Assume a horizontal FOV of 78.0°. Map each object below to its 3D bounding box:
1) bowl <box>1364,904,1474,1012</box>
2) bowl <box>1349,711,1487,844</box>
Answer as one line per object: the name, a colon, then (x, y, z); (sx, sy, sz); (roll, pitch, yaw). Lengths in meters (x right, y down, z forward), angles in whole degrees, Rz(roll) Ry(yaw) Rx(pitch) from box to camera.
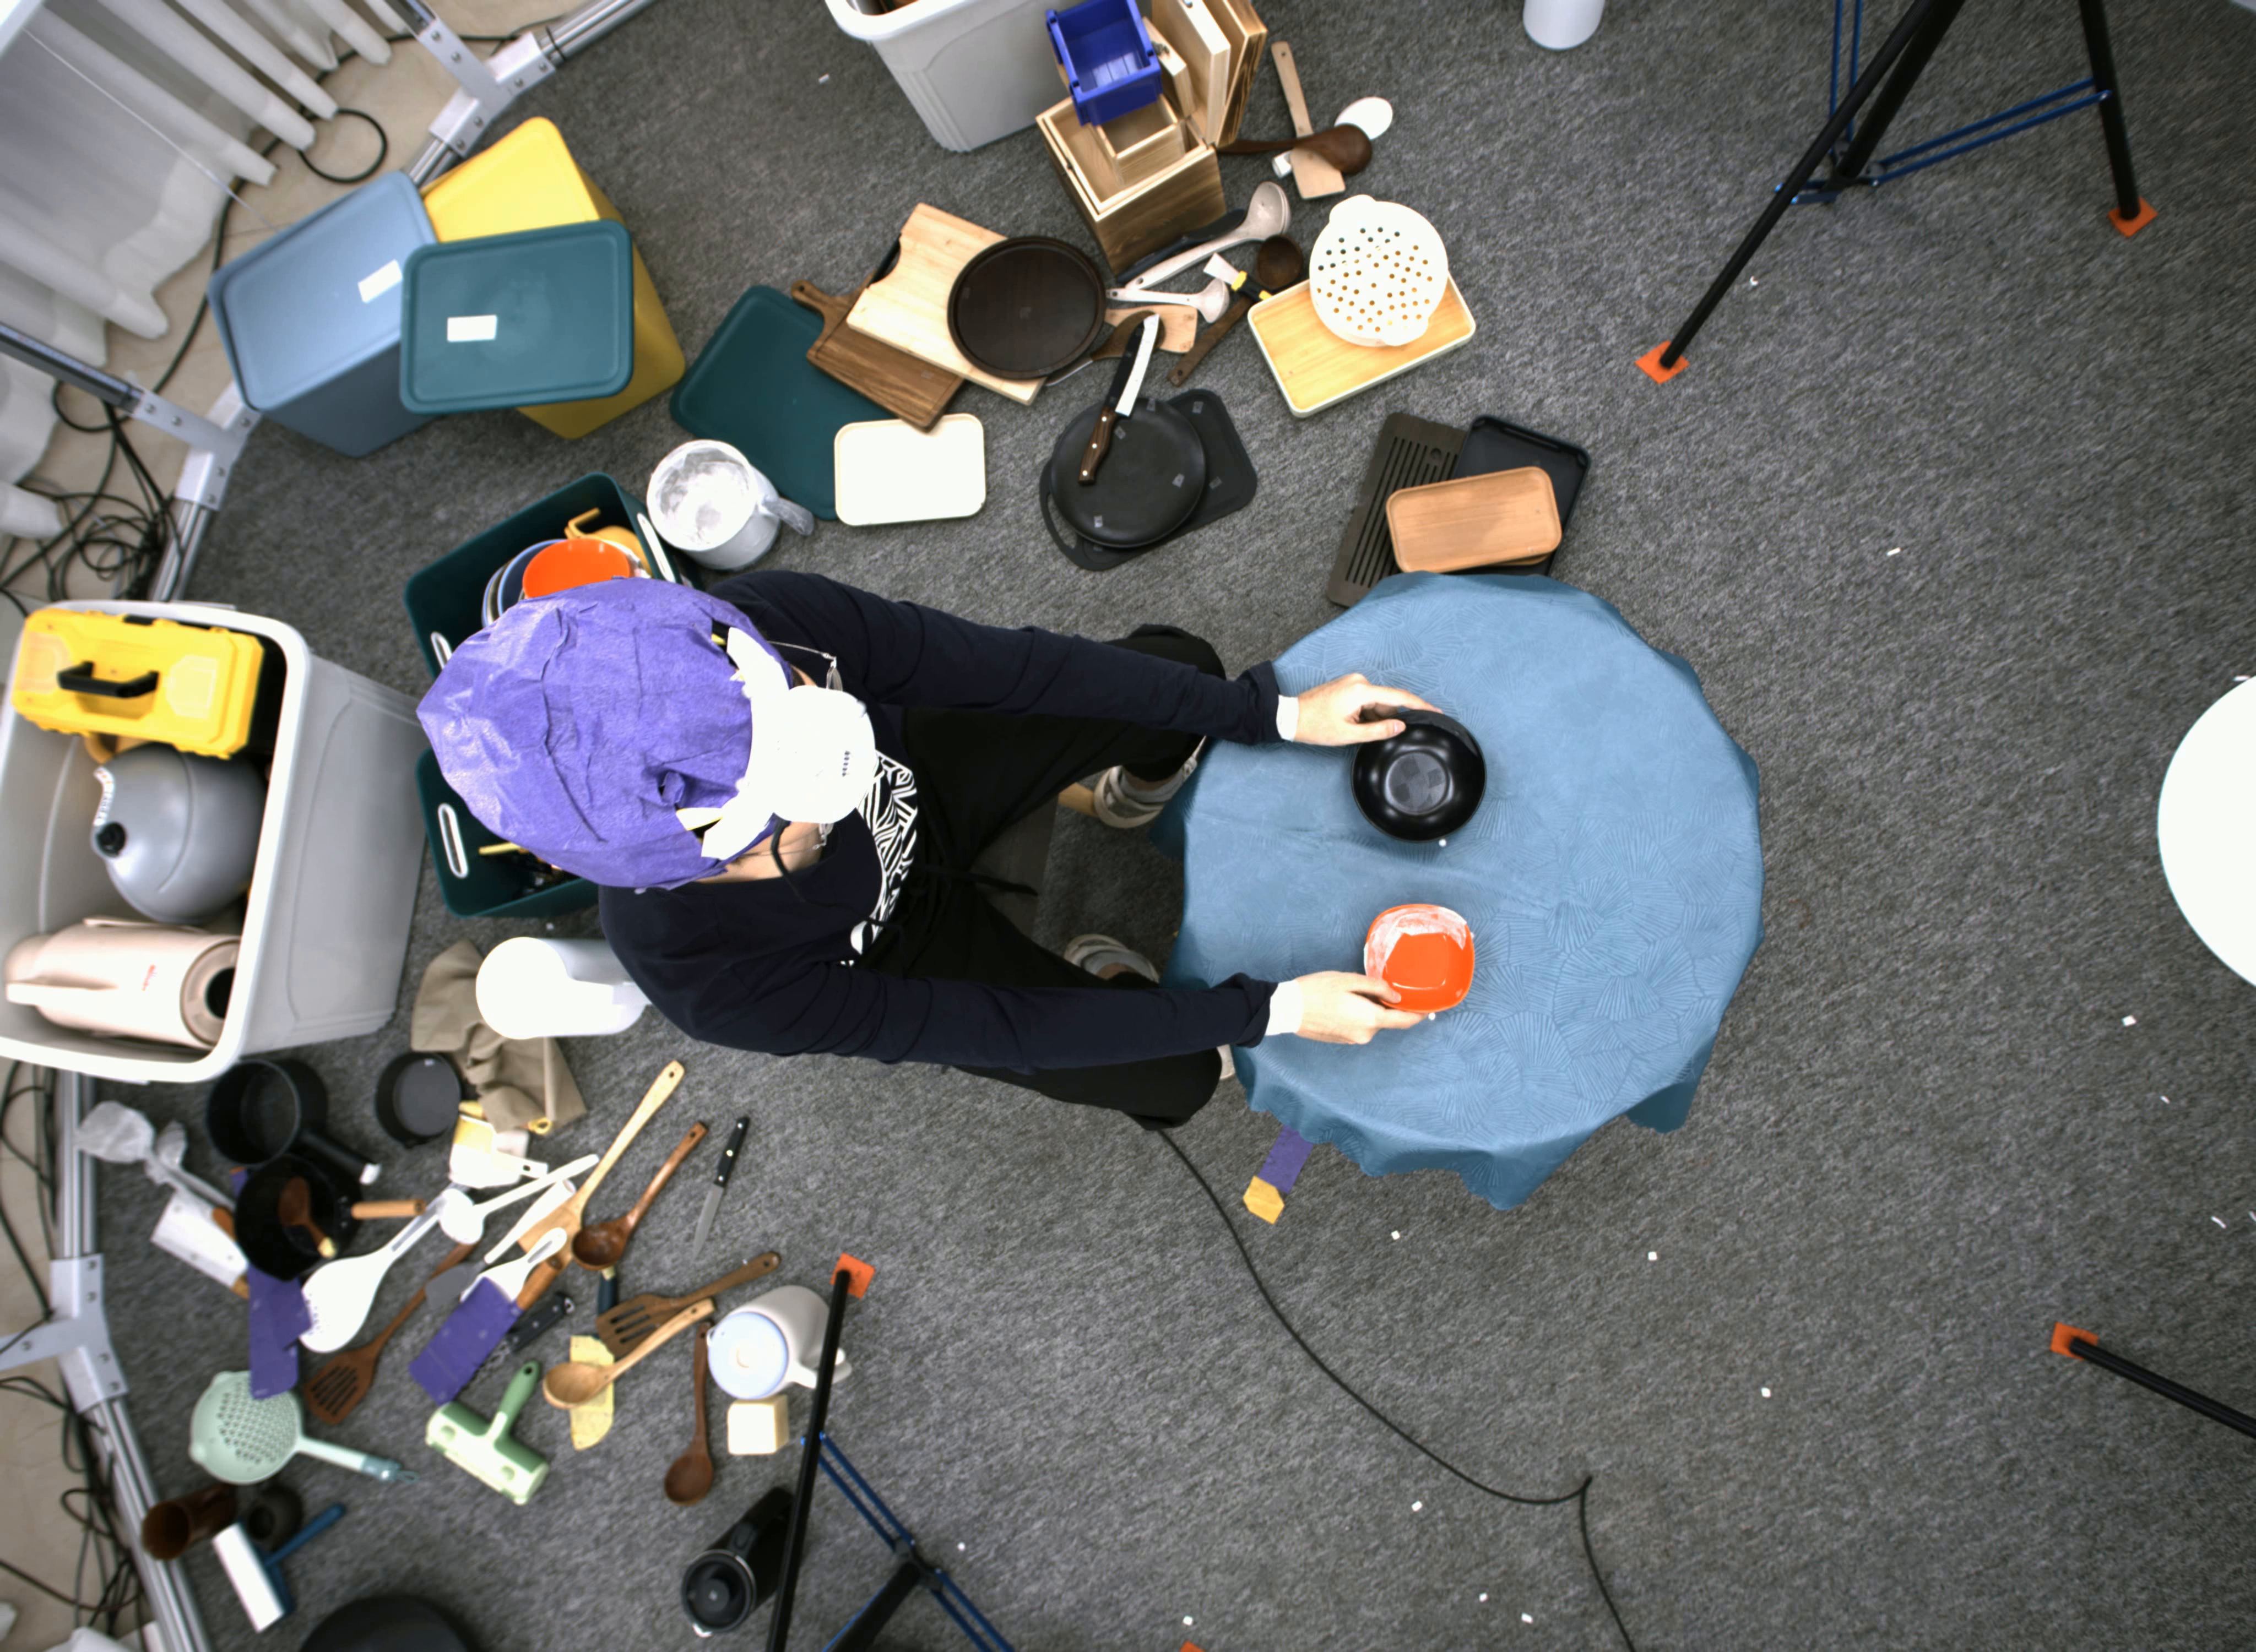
bowl: (0.298, 0.135, 1.424); (0.119, 0.051, 0.118); (-1, 87, 9)
bowl: (0.303, -0.050, 1.438); (0.141, 0.050, 0.139); (-1, 86, 14)
